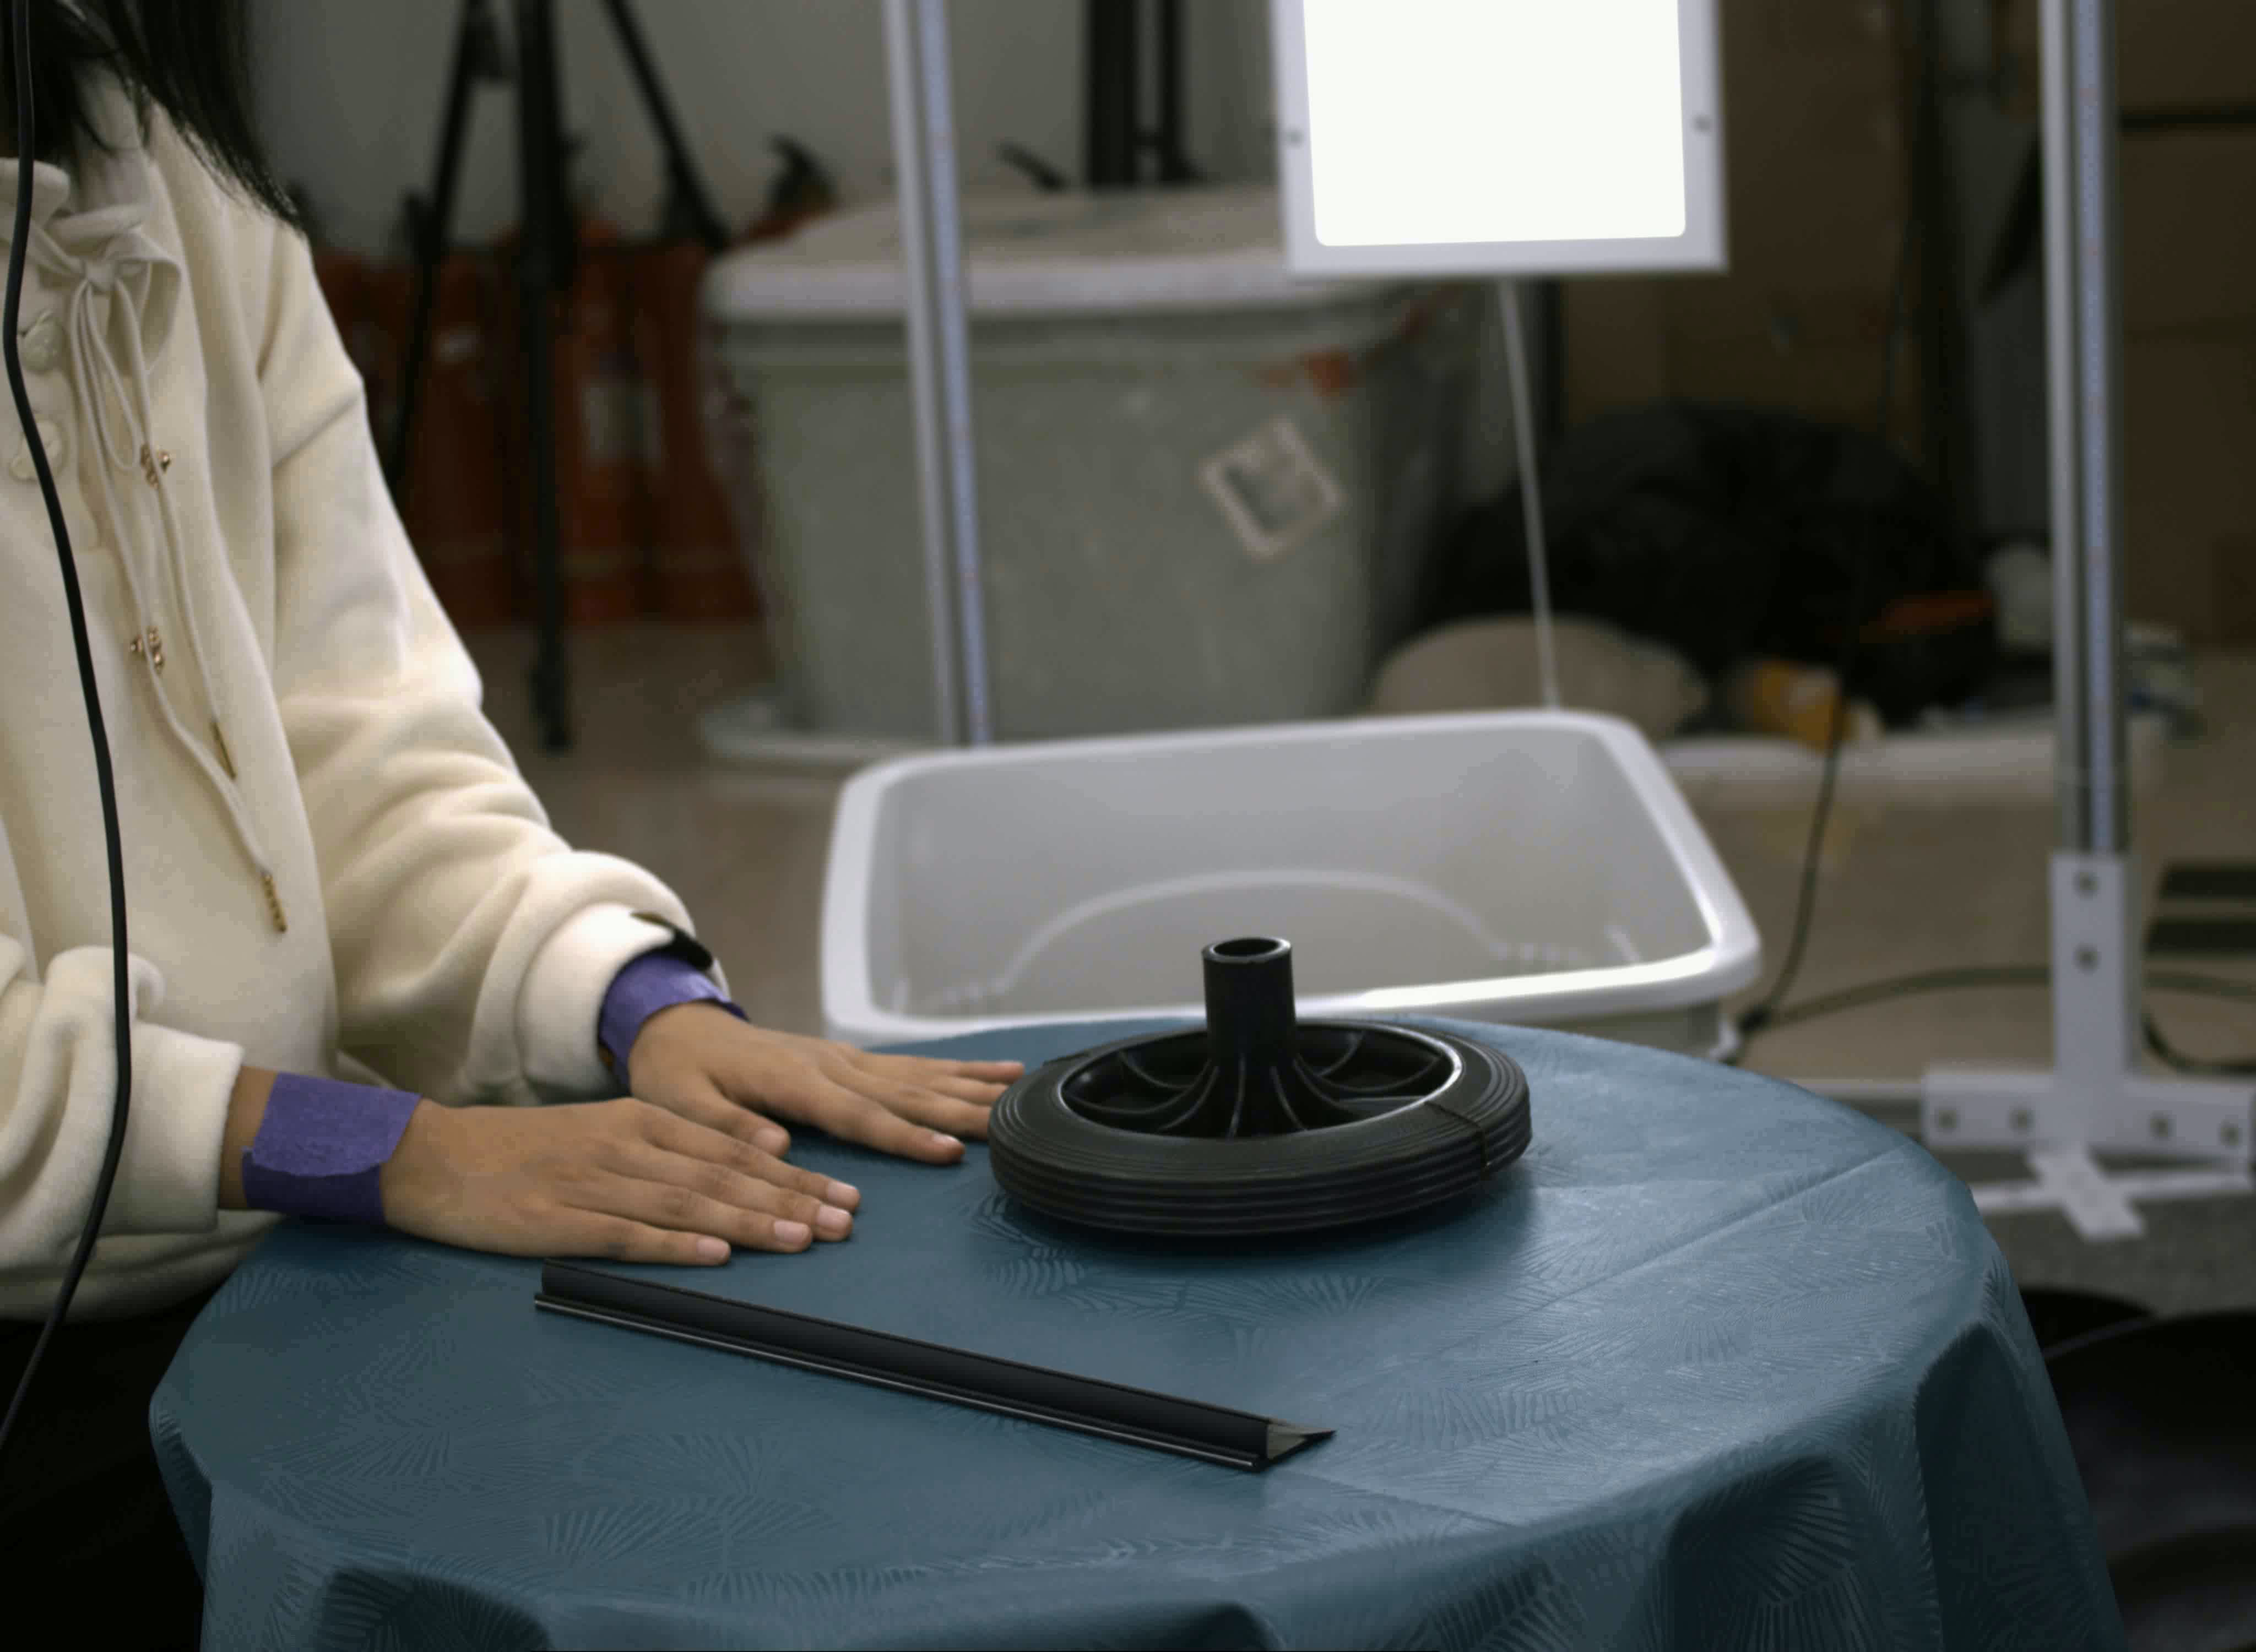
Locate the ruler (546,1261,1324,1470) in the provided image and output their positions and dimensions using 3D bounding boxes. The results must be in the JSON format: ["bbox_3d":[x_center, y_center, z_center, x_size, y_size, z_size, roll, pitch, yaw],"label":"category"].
[{"bbox_3d":[-0.067,0.164,1.737,0.319,0.017,0.038,7,15,43],"label":"ruler"}]

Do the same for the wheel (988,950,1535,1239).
[{"bbox_3d":[0.045,0.084,1.894,0.187,0.079,0.189,-8,14,-14],"label":"wheel"}]
